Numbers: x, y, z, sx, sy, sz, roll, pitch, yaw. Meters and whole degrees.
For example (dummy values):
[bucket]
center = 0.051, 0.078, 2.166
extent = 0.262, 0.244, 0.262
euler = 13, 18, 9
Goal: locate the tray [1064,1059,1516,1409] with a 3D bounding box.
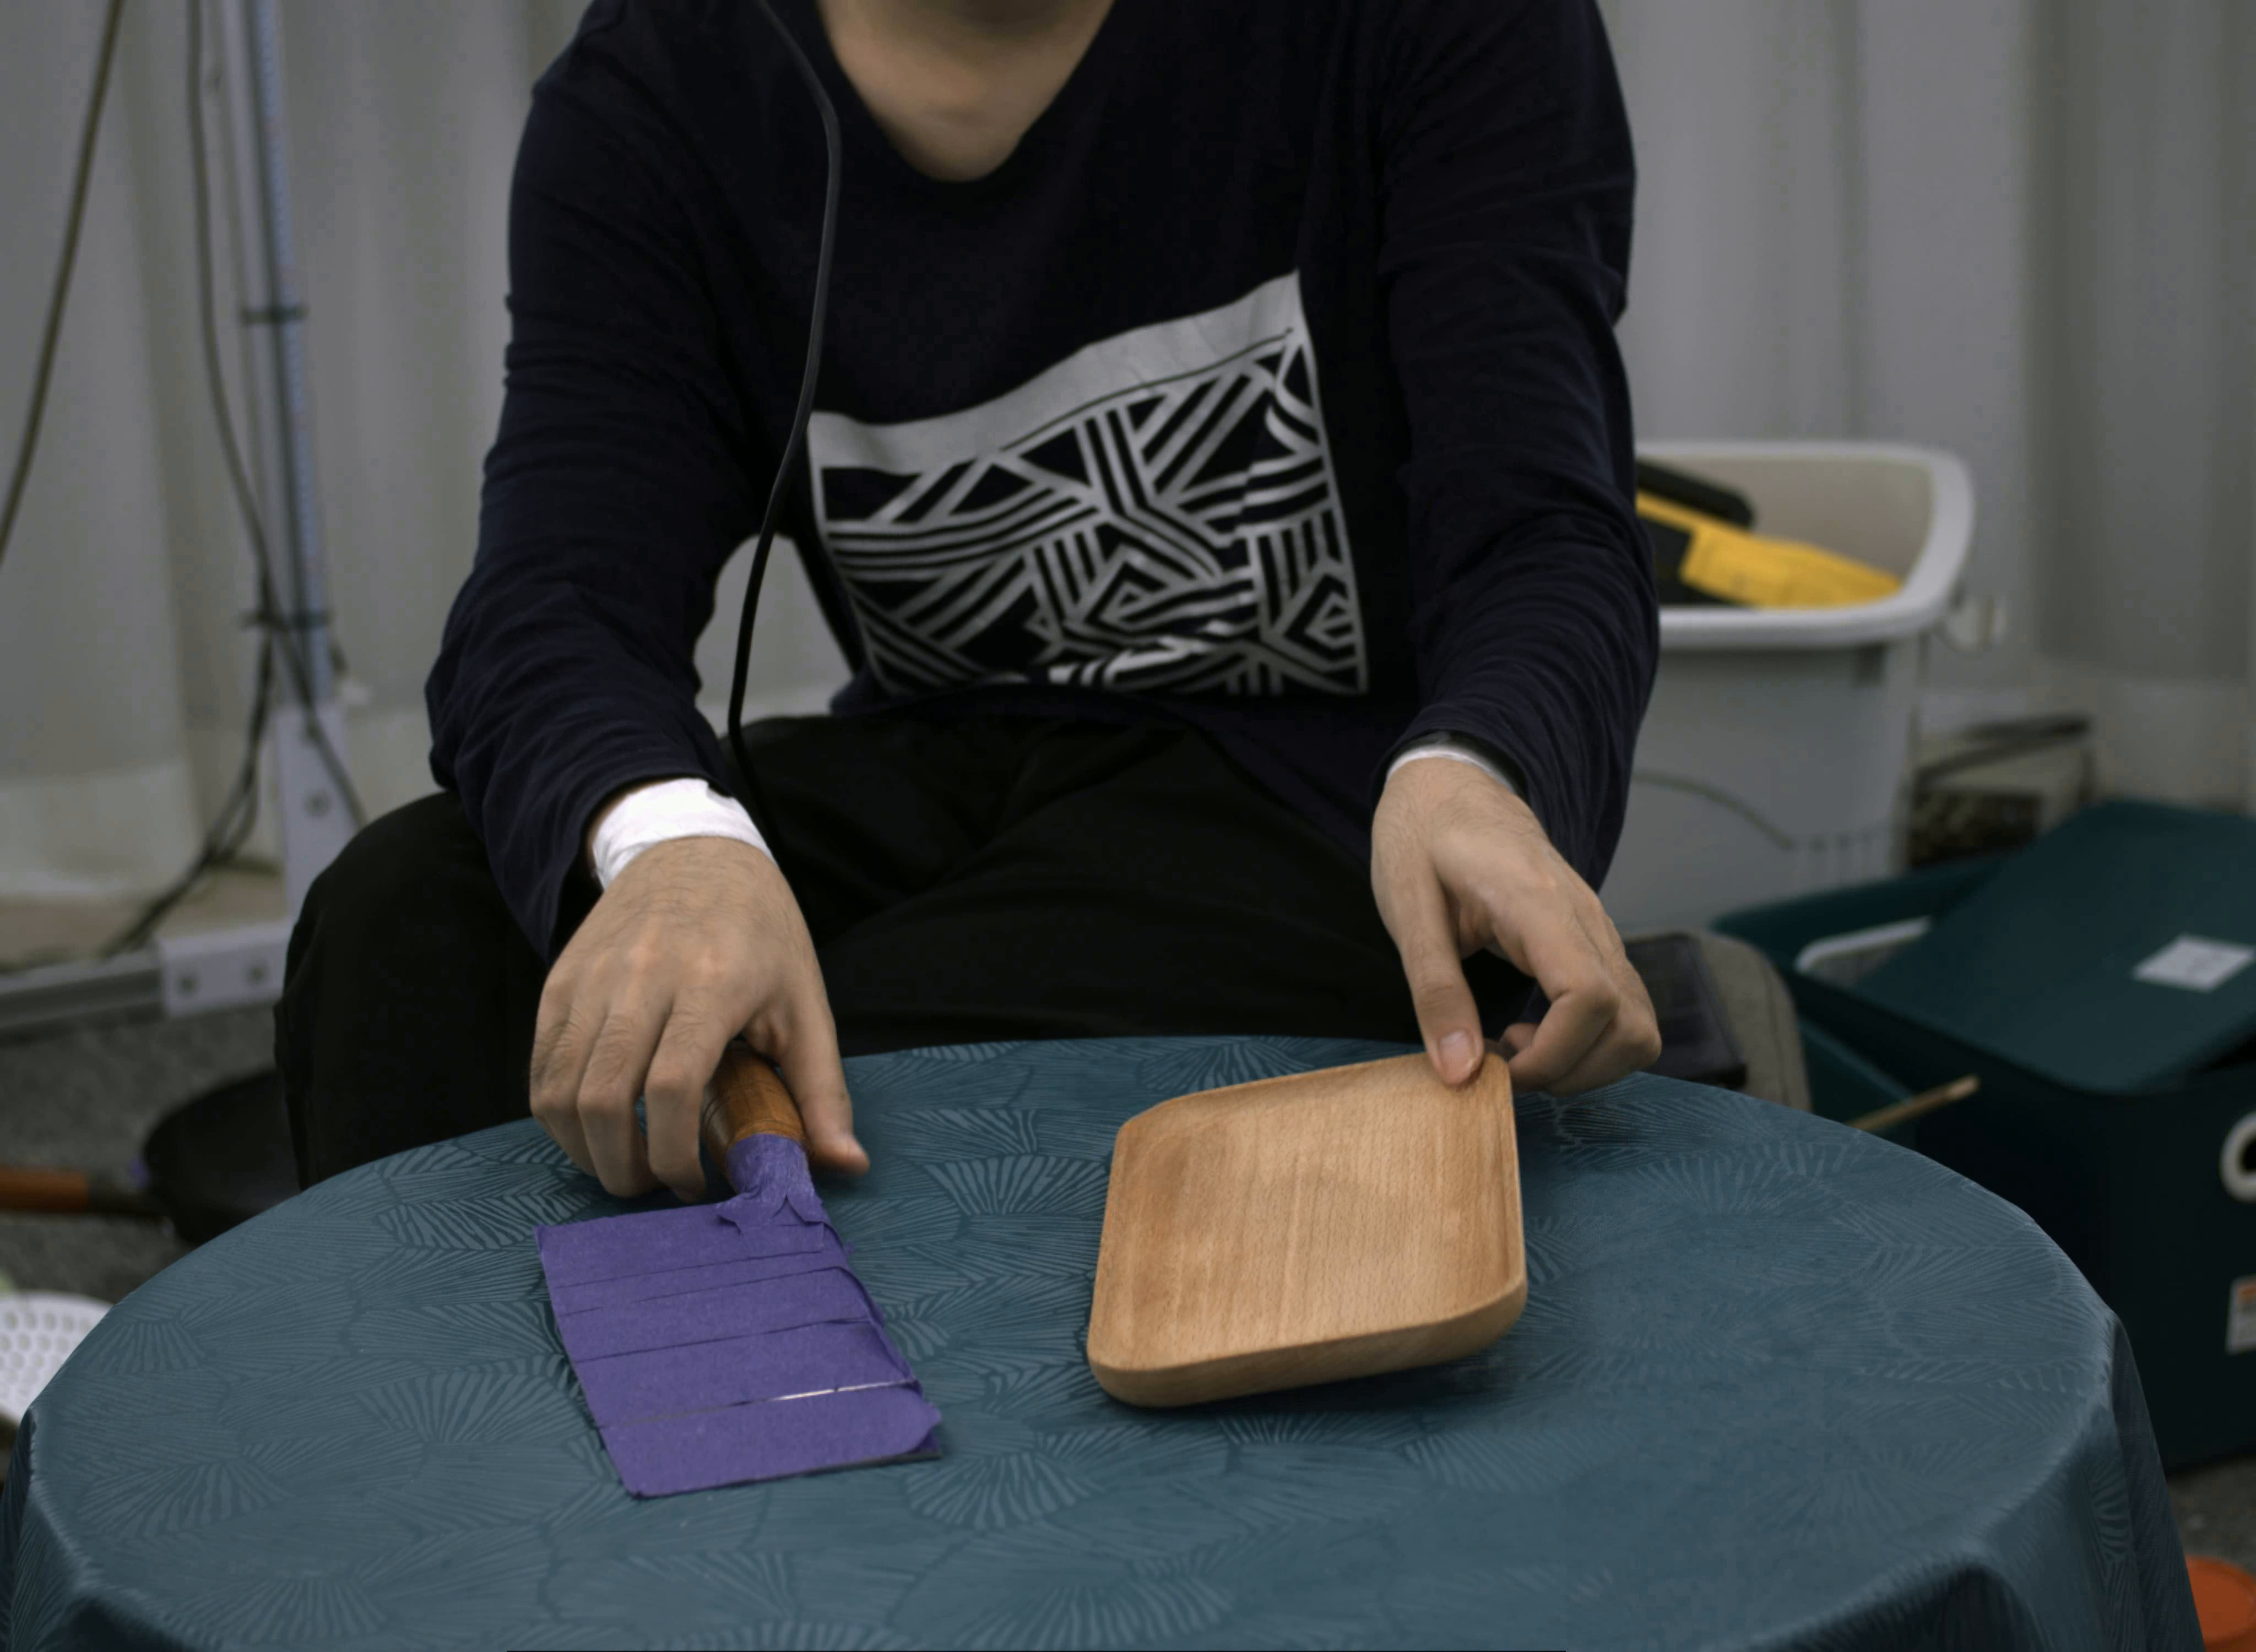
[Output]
[tray]
center = 0.053, 0.119, 1.633
extent = 0.130, 0.023, 0.252
euler = -11, 15, 8

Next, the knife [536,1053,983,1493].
[knife]
center = -0.126, 0.129, 1.634
extent = 0.103, 0.032, 0.318
euler = -6, 15, -13
